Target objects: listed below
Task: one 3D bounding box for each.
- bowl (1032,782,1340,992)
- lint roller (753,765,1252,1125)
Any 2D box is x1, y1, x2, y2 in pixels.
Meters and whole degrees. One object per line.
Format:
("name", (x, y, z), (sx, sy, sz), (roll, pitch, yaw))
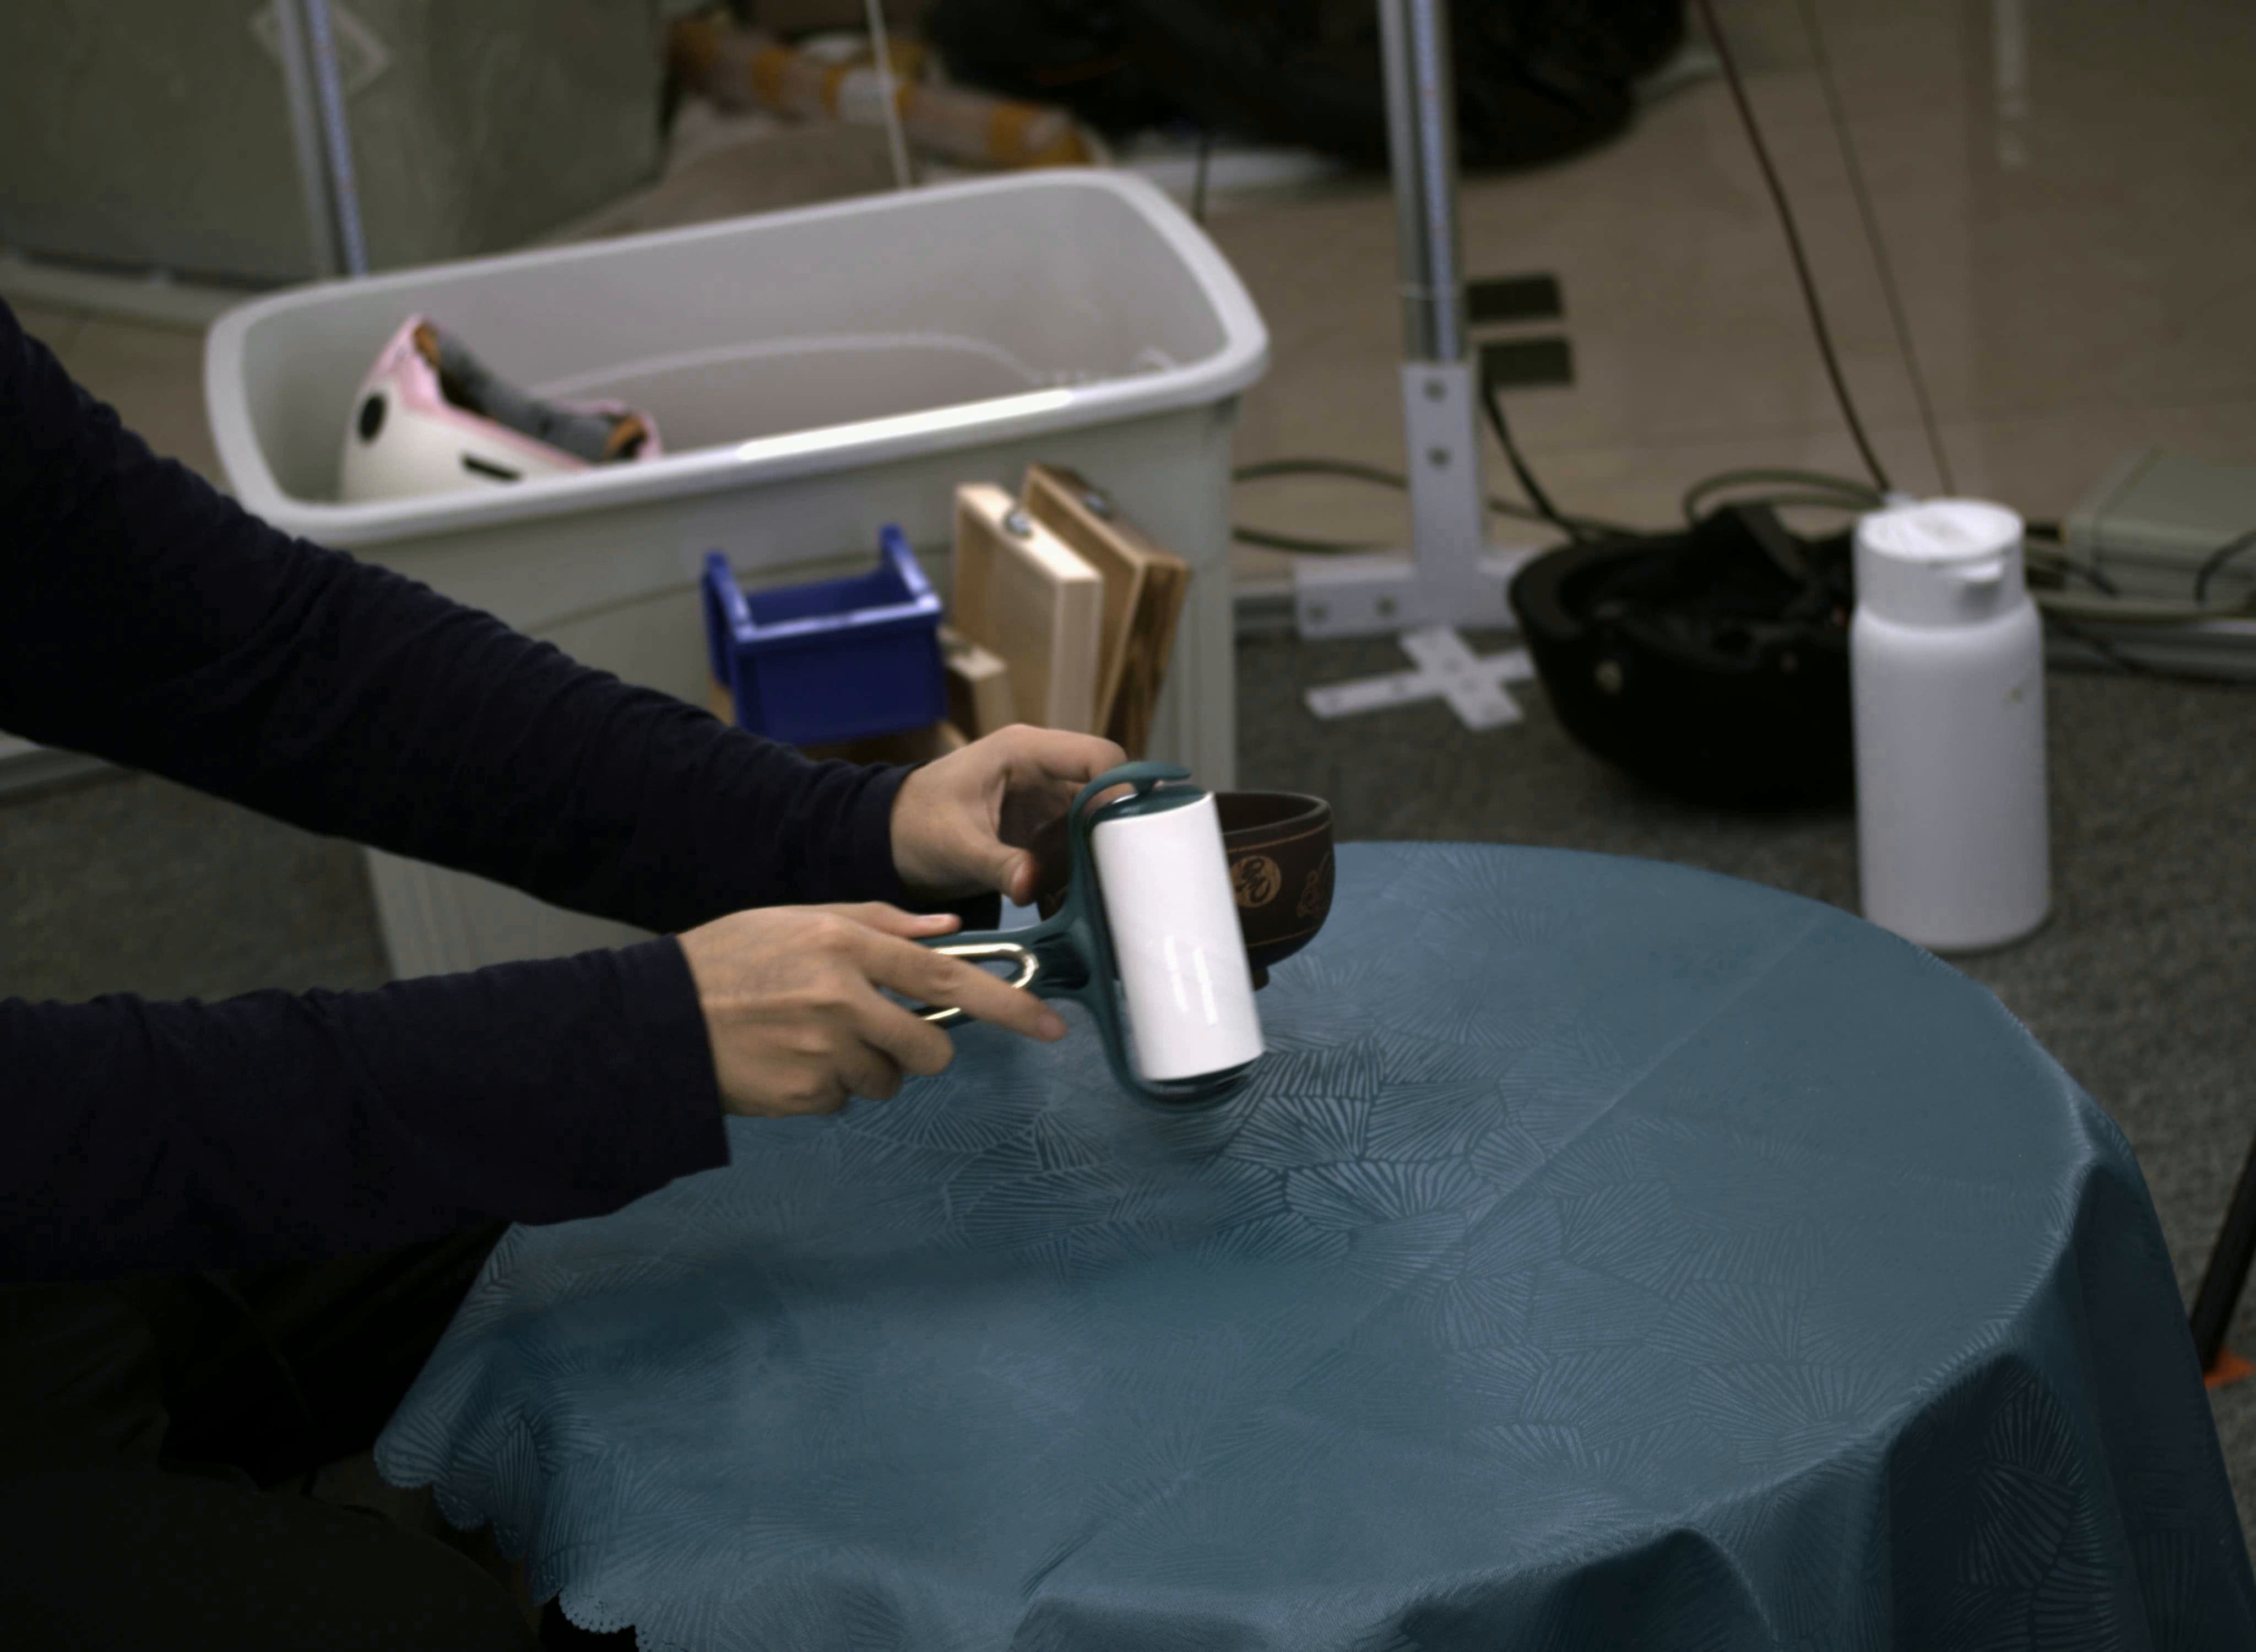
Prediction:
("bowl", (0.025, 0.027, 2.187), (0.118, 0.070, 0.117), (-8, 10, 2))
("lint roller", (-0.051, 0.058, 2.106), (0.180, 0.135, 0.048), (-12, 10, -2))
